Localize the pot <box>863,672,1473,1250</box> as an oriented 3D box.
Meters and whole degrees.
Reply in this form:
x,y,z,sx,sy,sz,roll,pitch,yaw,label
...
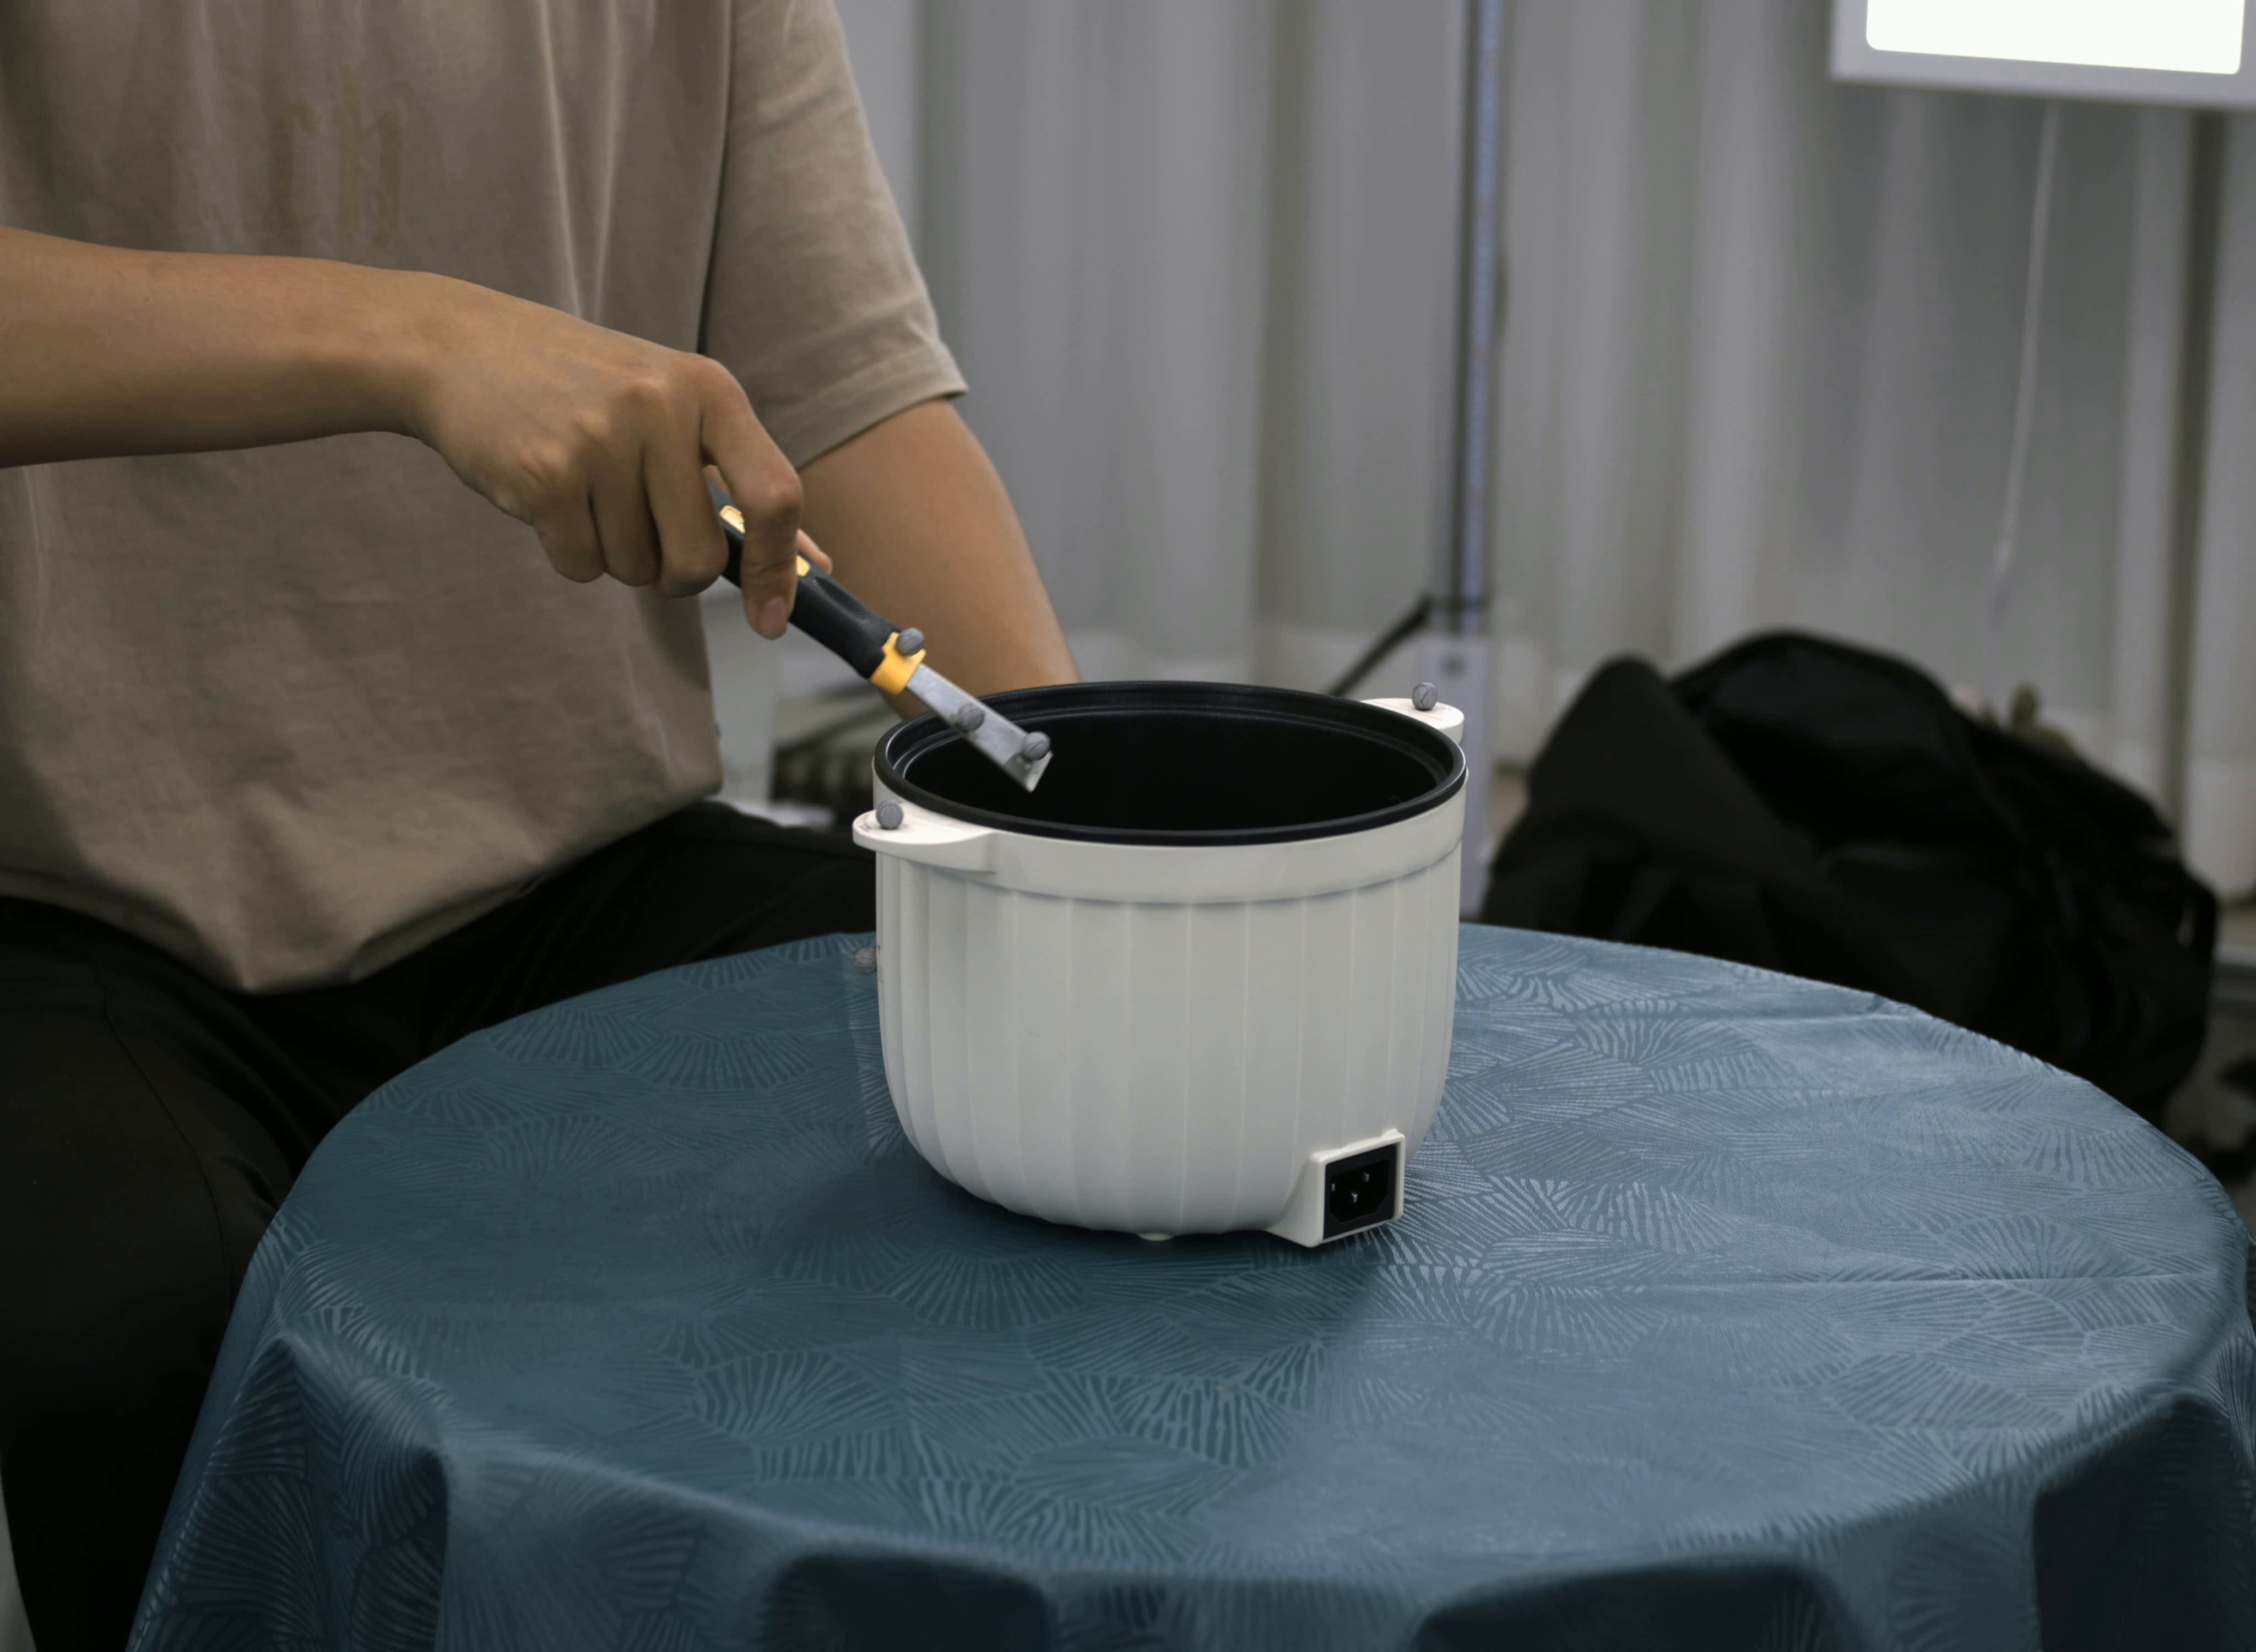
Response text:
x,y,z,sx,sy,sz,roll,pitch,yaw,label
0.008,0.040,1.624,0.241,0.144,0.188,-13,25,-42,pot

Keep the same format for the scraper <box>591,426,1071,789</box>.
x,y,z,sx,sy,sz,roll,pitch,yaw,label
-0.091,-0.067,1.595,0.171,0.015,0.038,36,29,-7,scraper
